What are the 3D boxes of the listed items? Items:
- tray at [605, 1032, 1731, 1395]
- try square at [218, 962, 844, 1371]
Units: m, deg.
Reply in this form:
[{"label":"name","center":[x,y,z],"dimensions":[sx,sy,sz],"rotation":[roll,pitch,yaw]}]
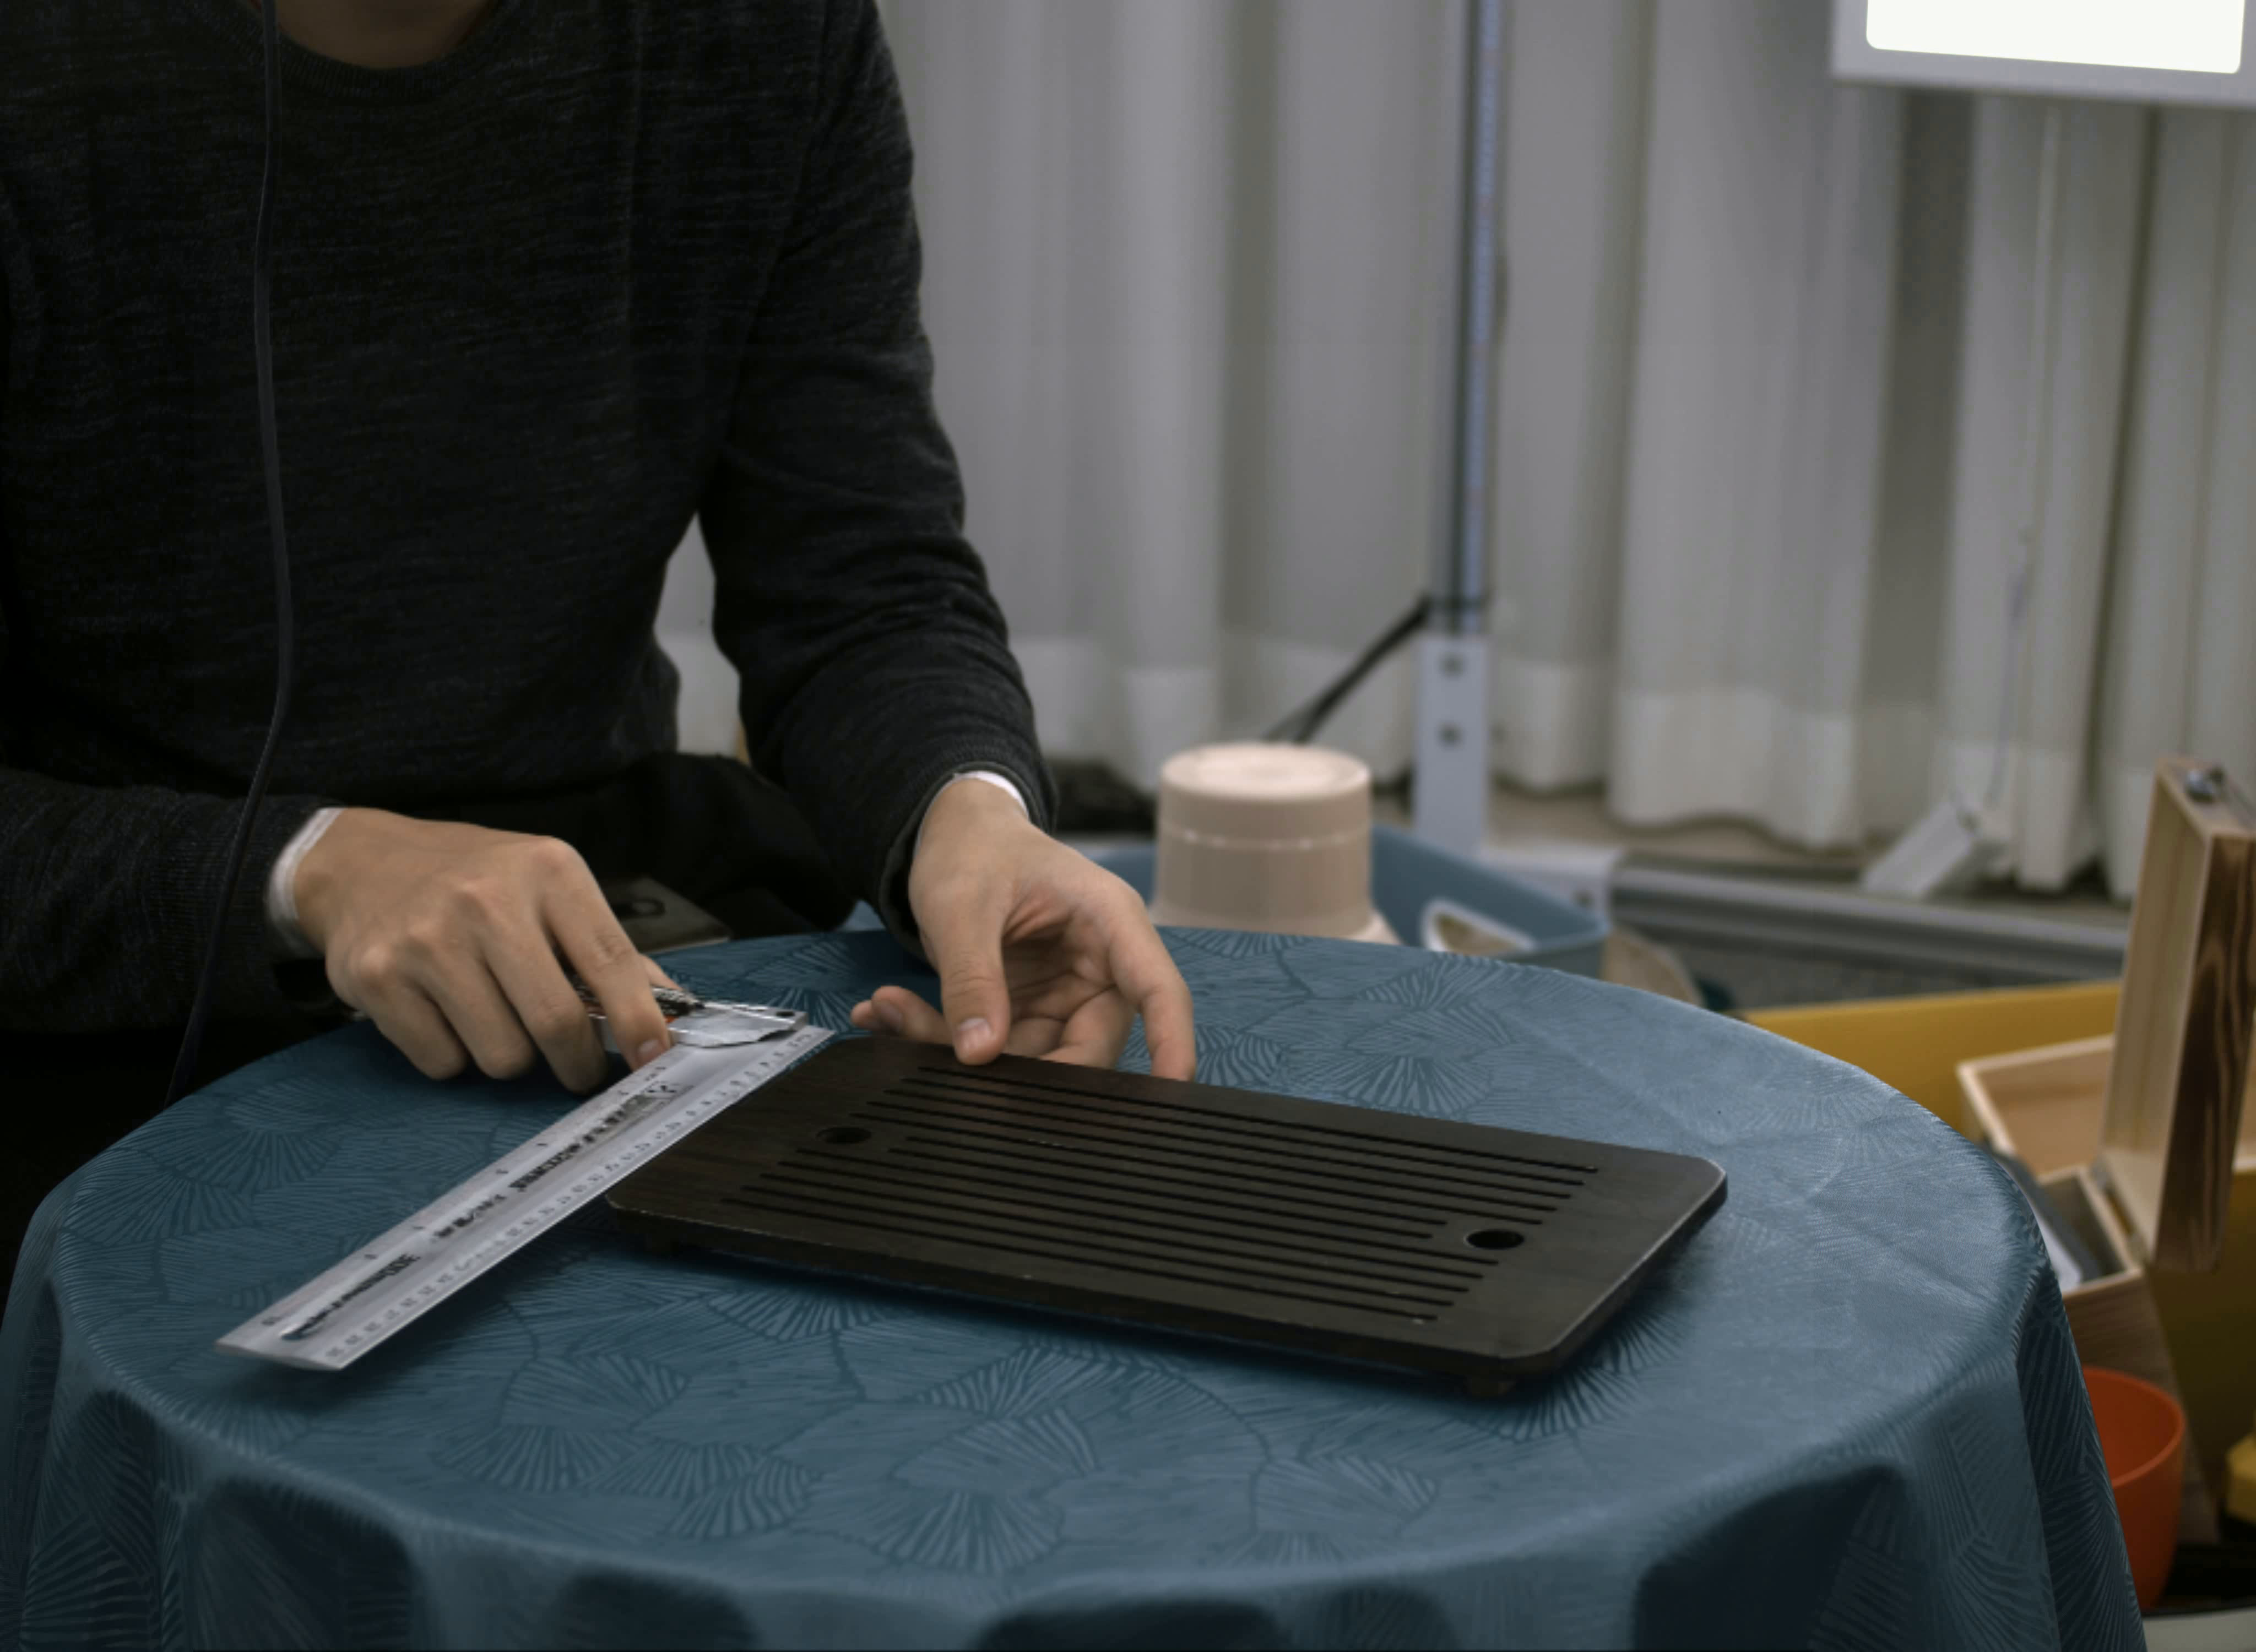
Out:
[{"label":"tray","center":[0.013,0.113,1.576],"dimensions":[0.303,0.019,0.170],"rotation":[7,19,24]},{"label":"try square","center":[-0.221,0.099,1.597],"dimensions":[0.151,0.016,0.313],"rotation":[7,18,22]}]
